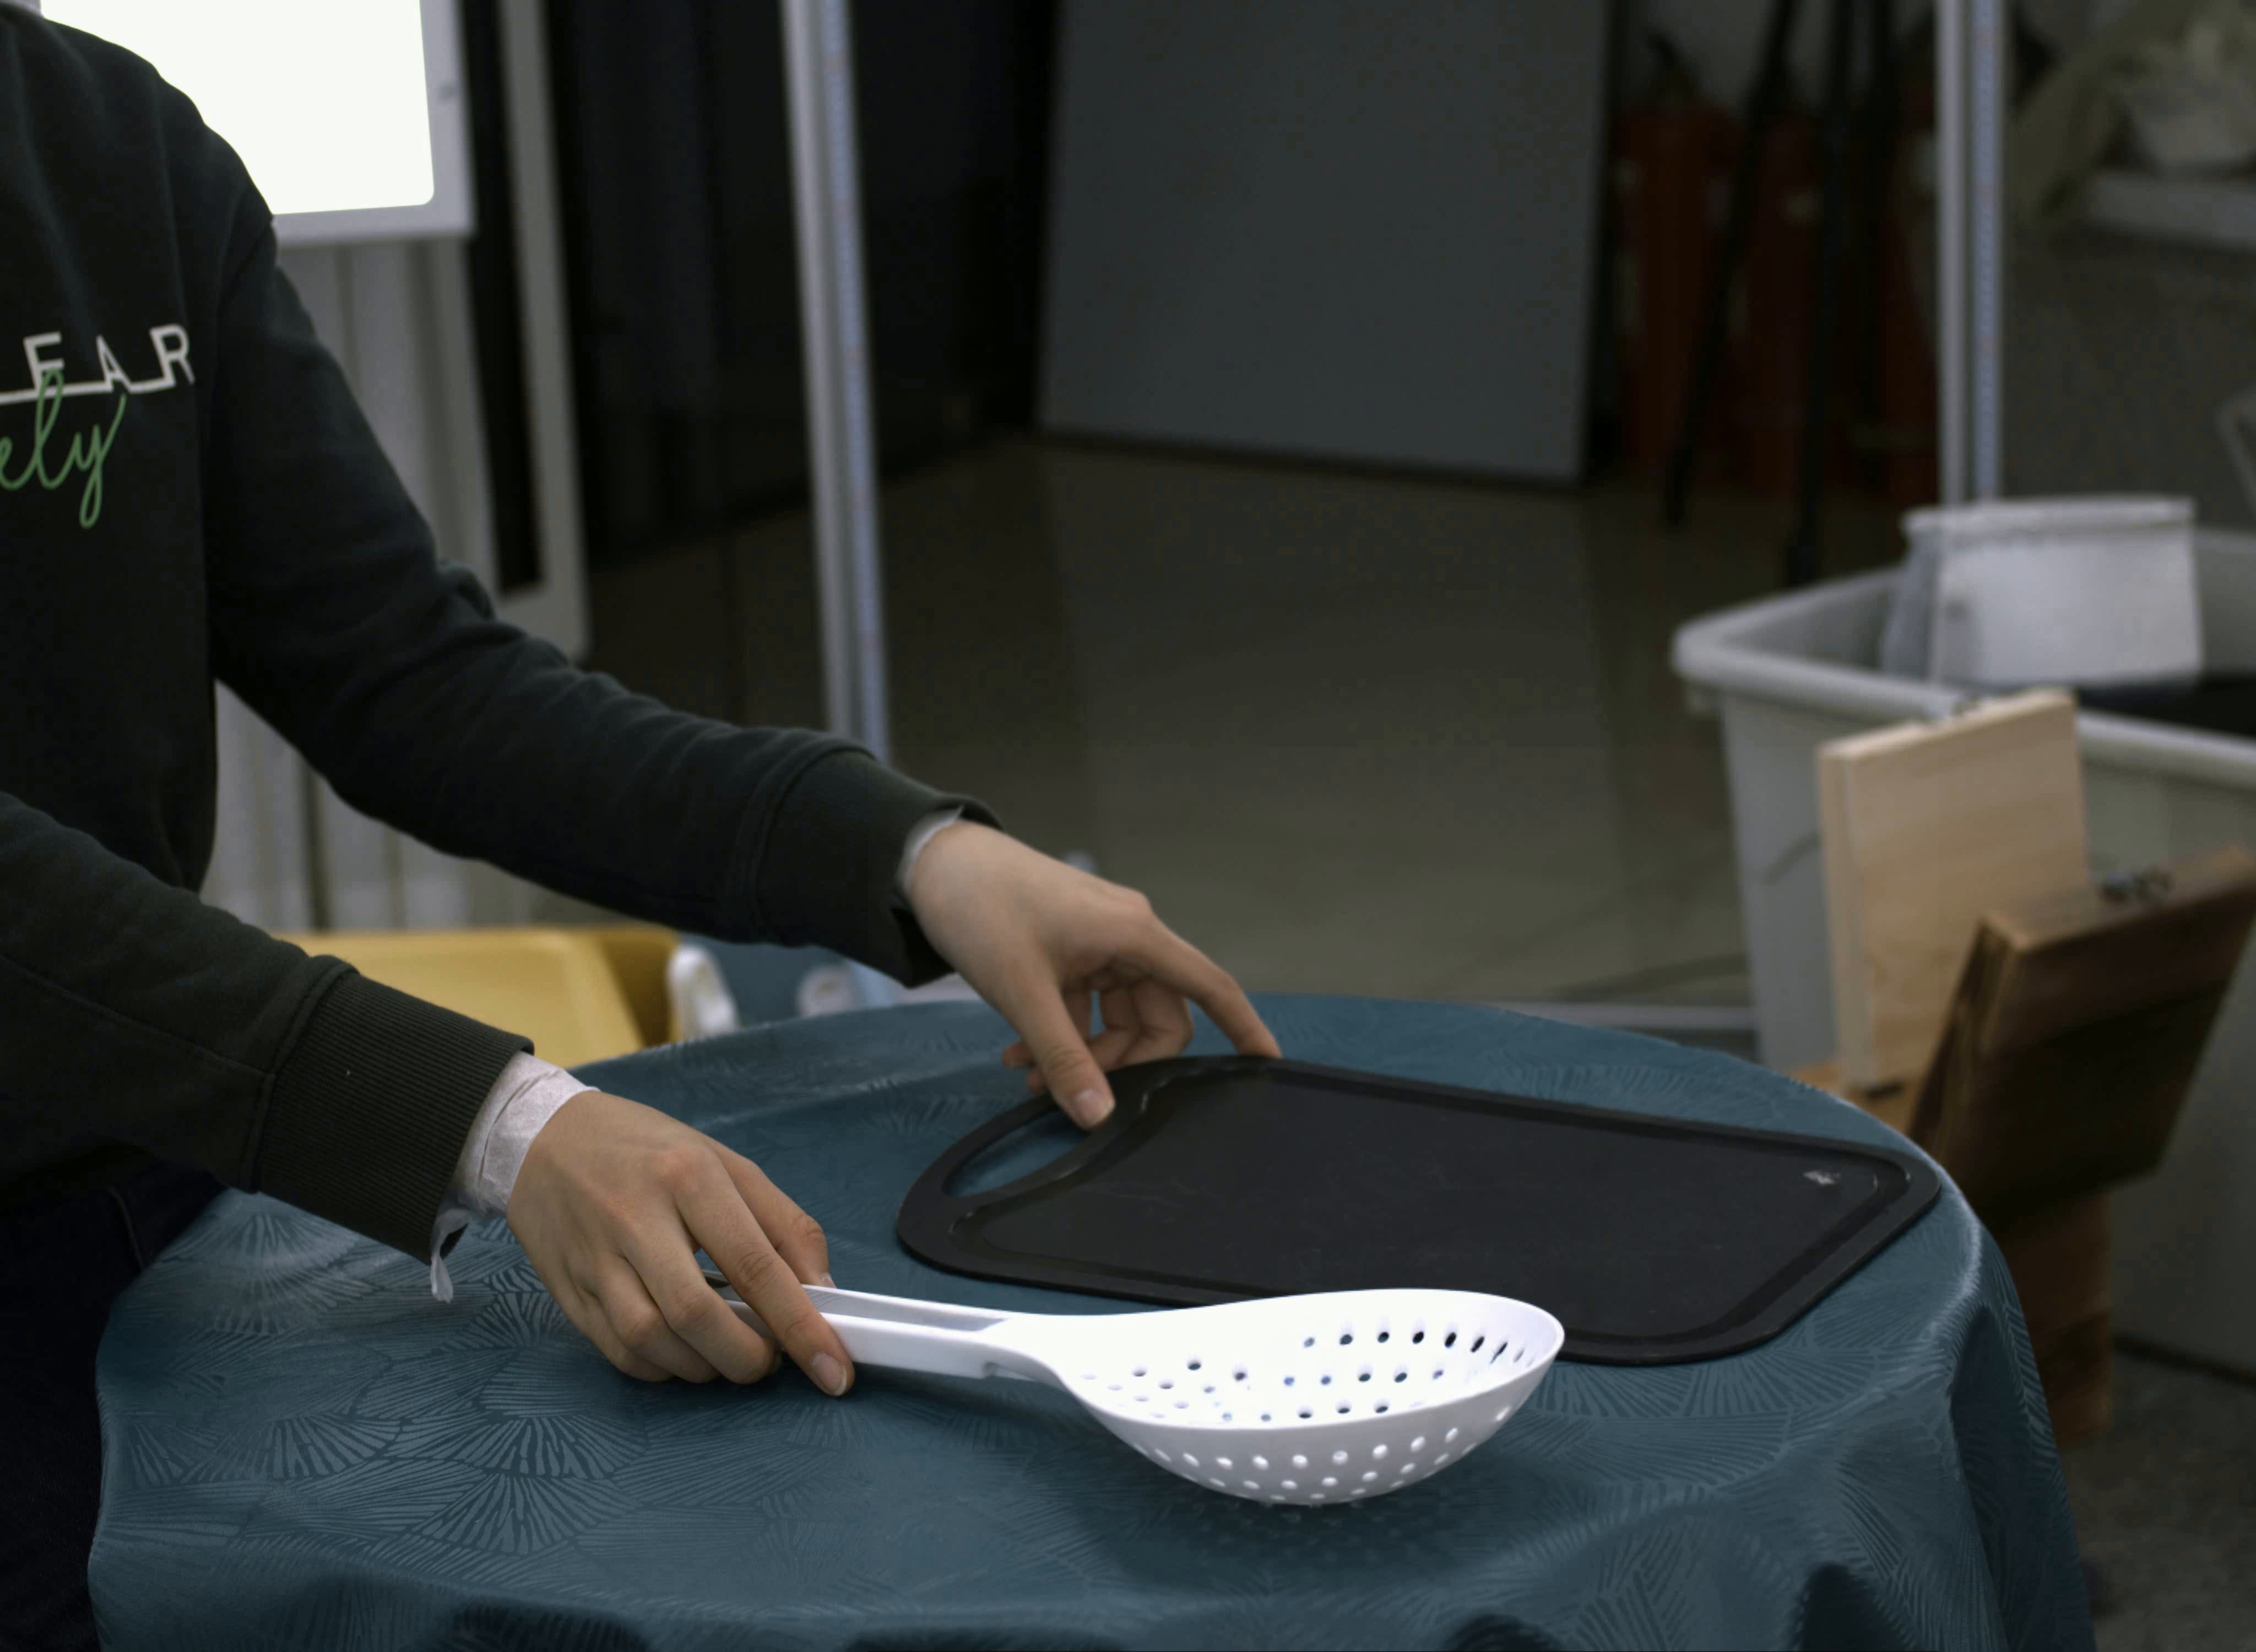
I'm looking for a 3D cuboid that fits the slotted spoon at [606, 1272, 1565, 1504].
[{"bbox_3d":[-0.026,0.151,1.562,0.352,0.046,0.133,7,15,41],"label":"slotted spoon"}]

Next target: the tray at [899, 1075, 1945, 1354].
[{"bbox_3d":[0.086,0.120,1.728,0.327,0.010,0.208,5,17,31],"label":"tray"}]
